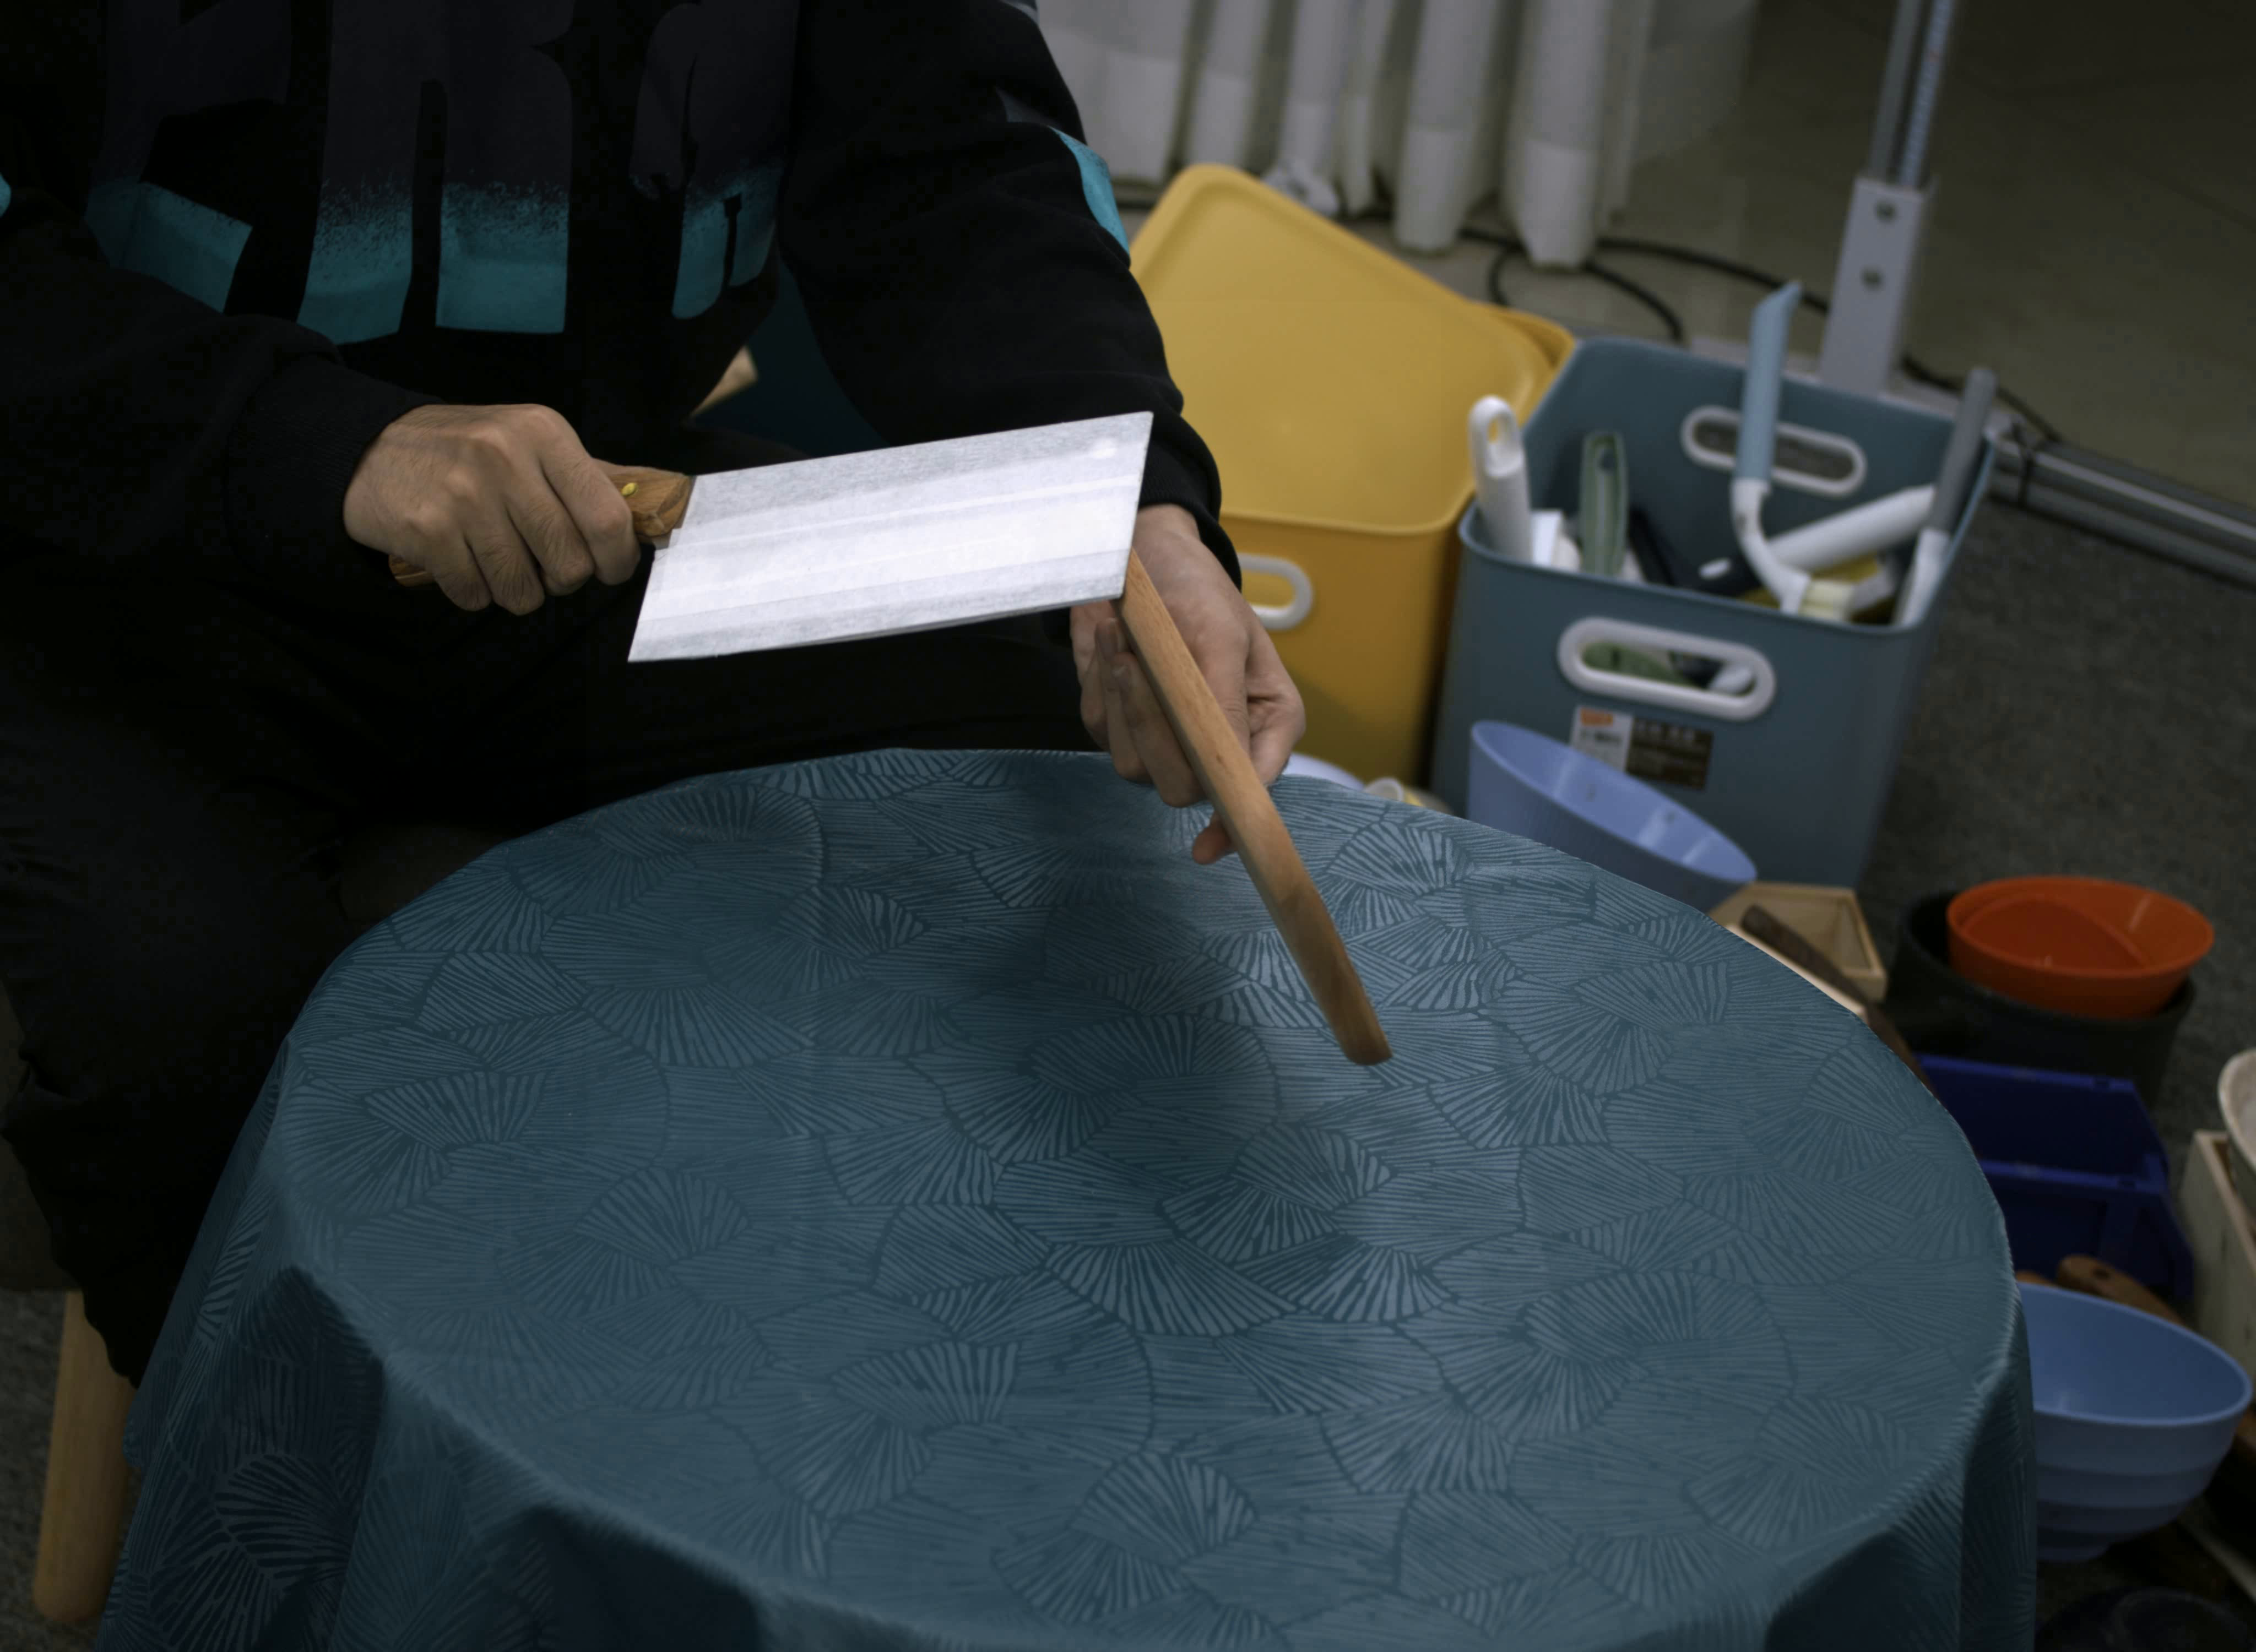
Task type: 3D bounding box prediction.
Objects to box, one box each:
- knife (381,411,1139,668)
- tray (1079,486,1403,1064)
[{"bbox_3d":[-0.139,-0.098,1.931,0.306,0.021,0.093,-7,50,20],"label":"knife"},{"bbox_3d":[0.032,-0.022,1.871,0.023,0.129,0.253,-26,39,-3],"label":"tray"}]
